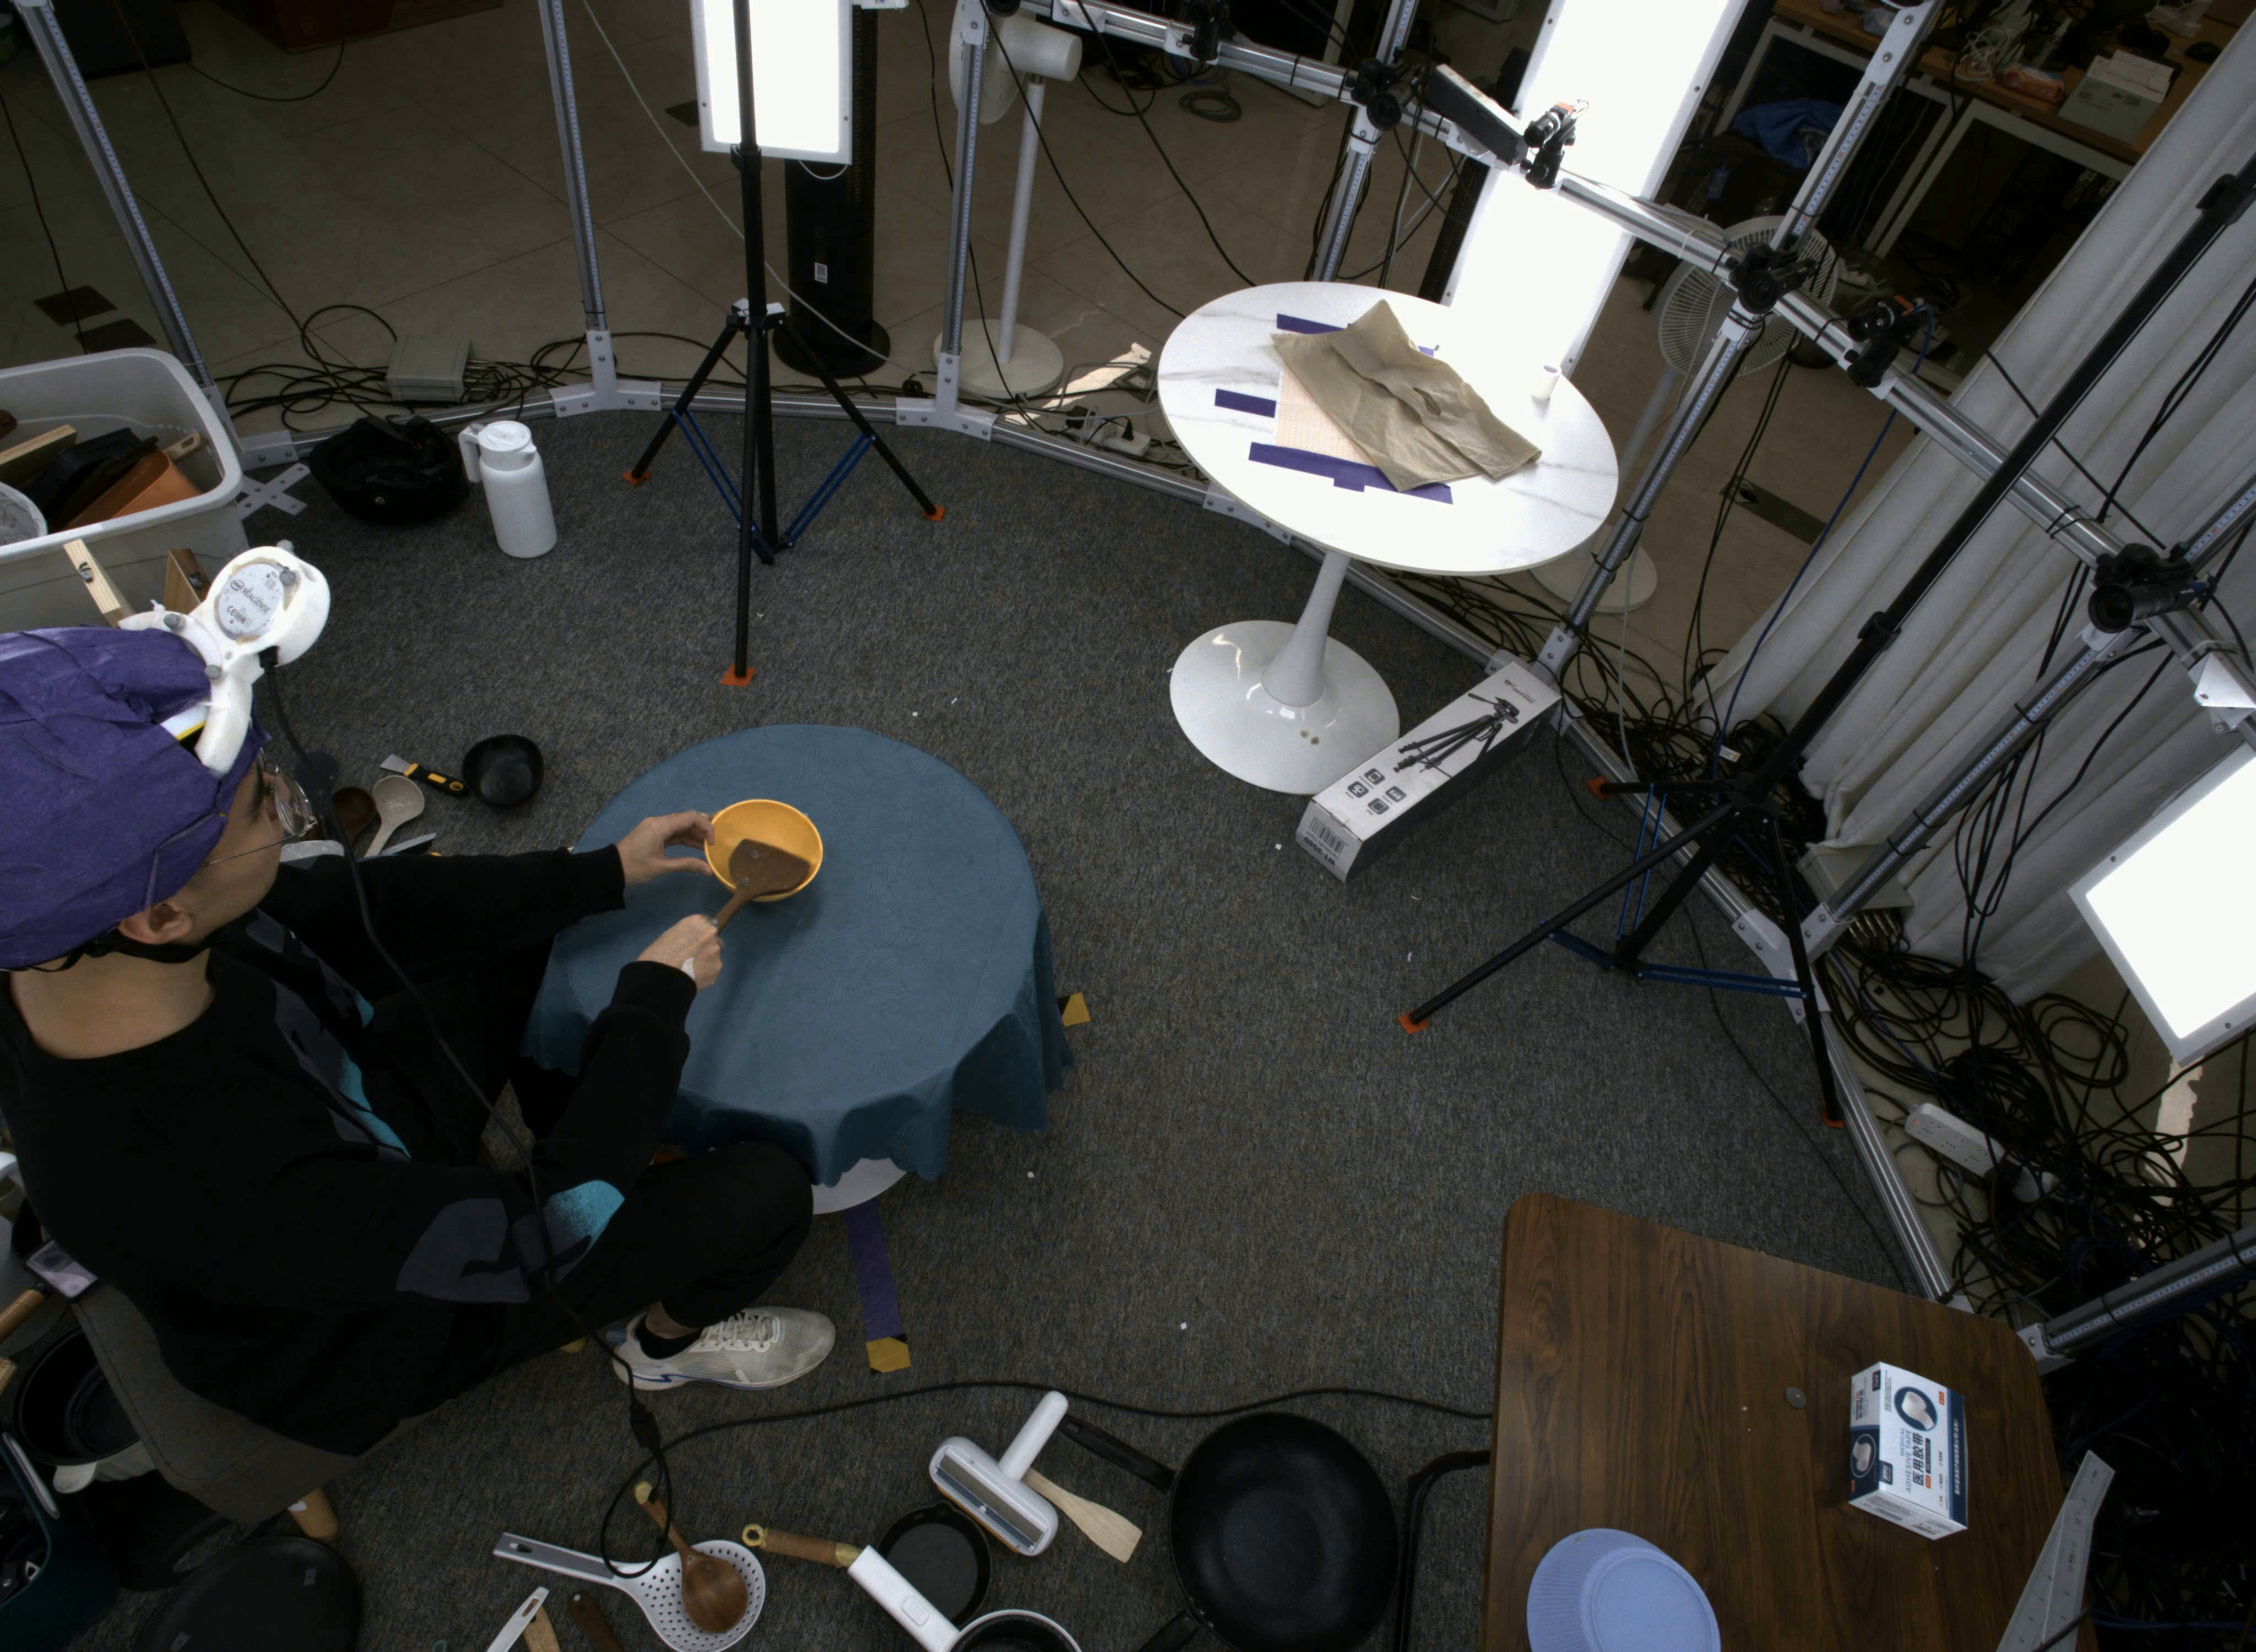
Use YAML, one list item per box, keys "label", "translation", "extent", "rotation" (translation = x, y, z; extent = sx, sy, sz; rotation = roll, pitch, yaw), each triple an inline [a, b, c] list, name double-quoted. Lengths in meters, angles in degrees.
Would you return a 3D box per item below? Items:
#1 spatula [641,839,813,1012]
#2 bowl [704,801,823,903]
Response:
- label: "spatula"
  translation: [-0.462, 0.104, 1.470]
  extent: [0.096, 0.016, 0.381]
  rotation: [22, 24, -2]
- label: "bowl"
  translation: [-0.459, 0.042, 1.631]
  extent: [0.146, 0.061, 0.143]
  rotation: [11, 53, -13]
